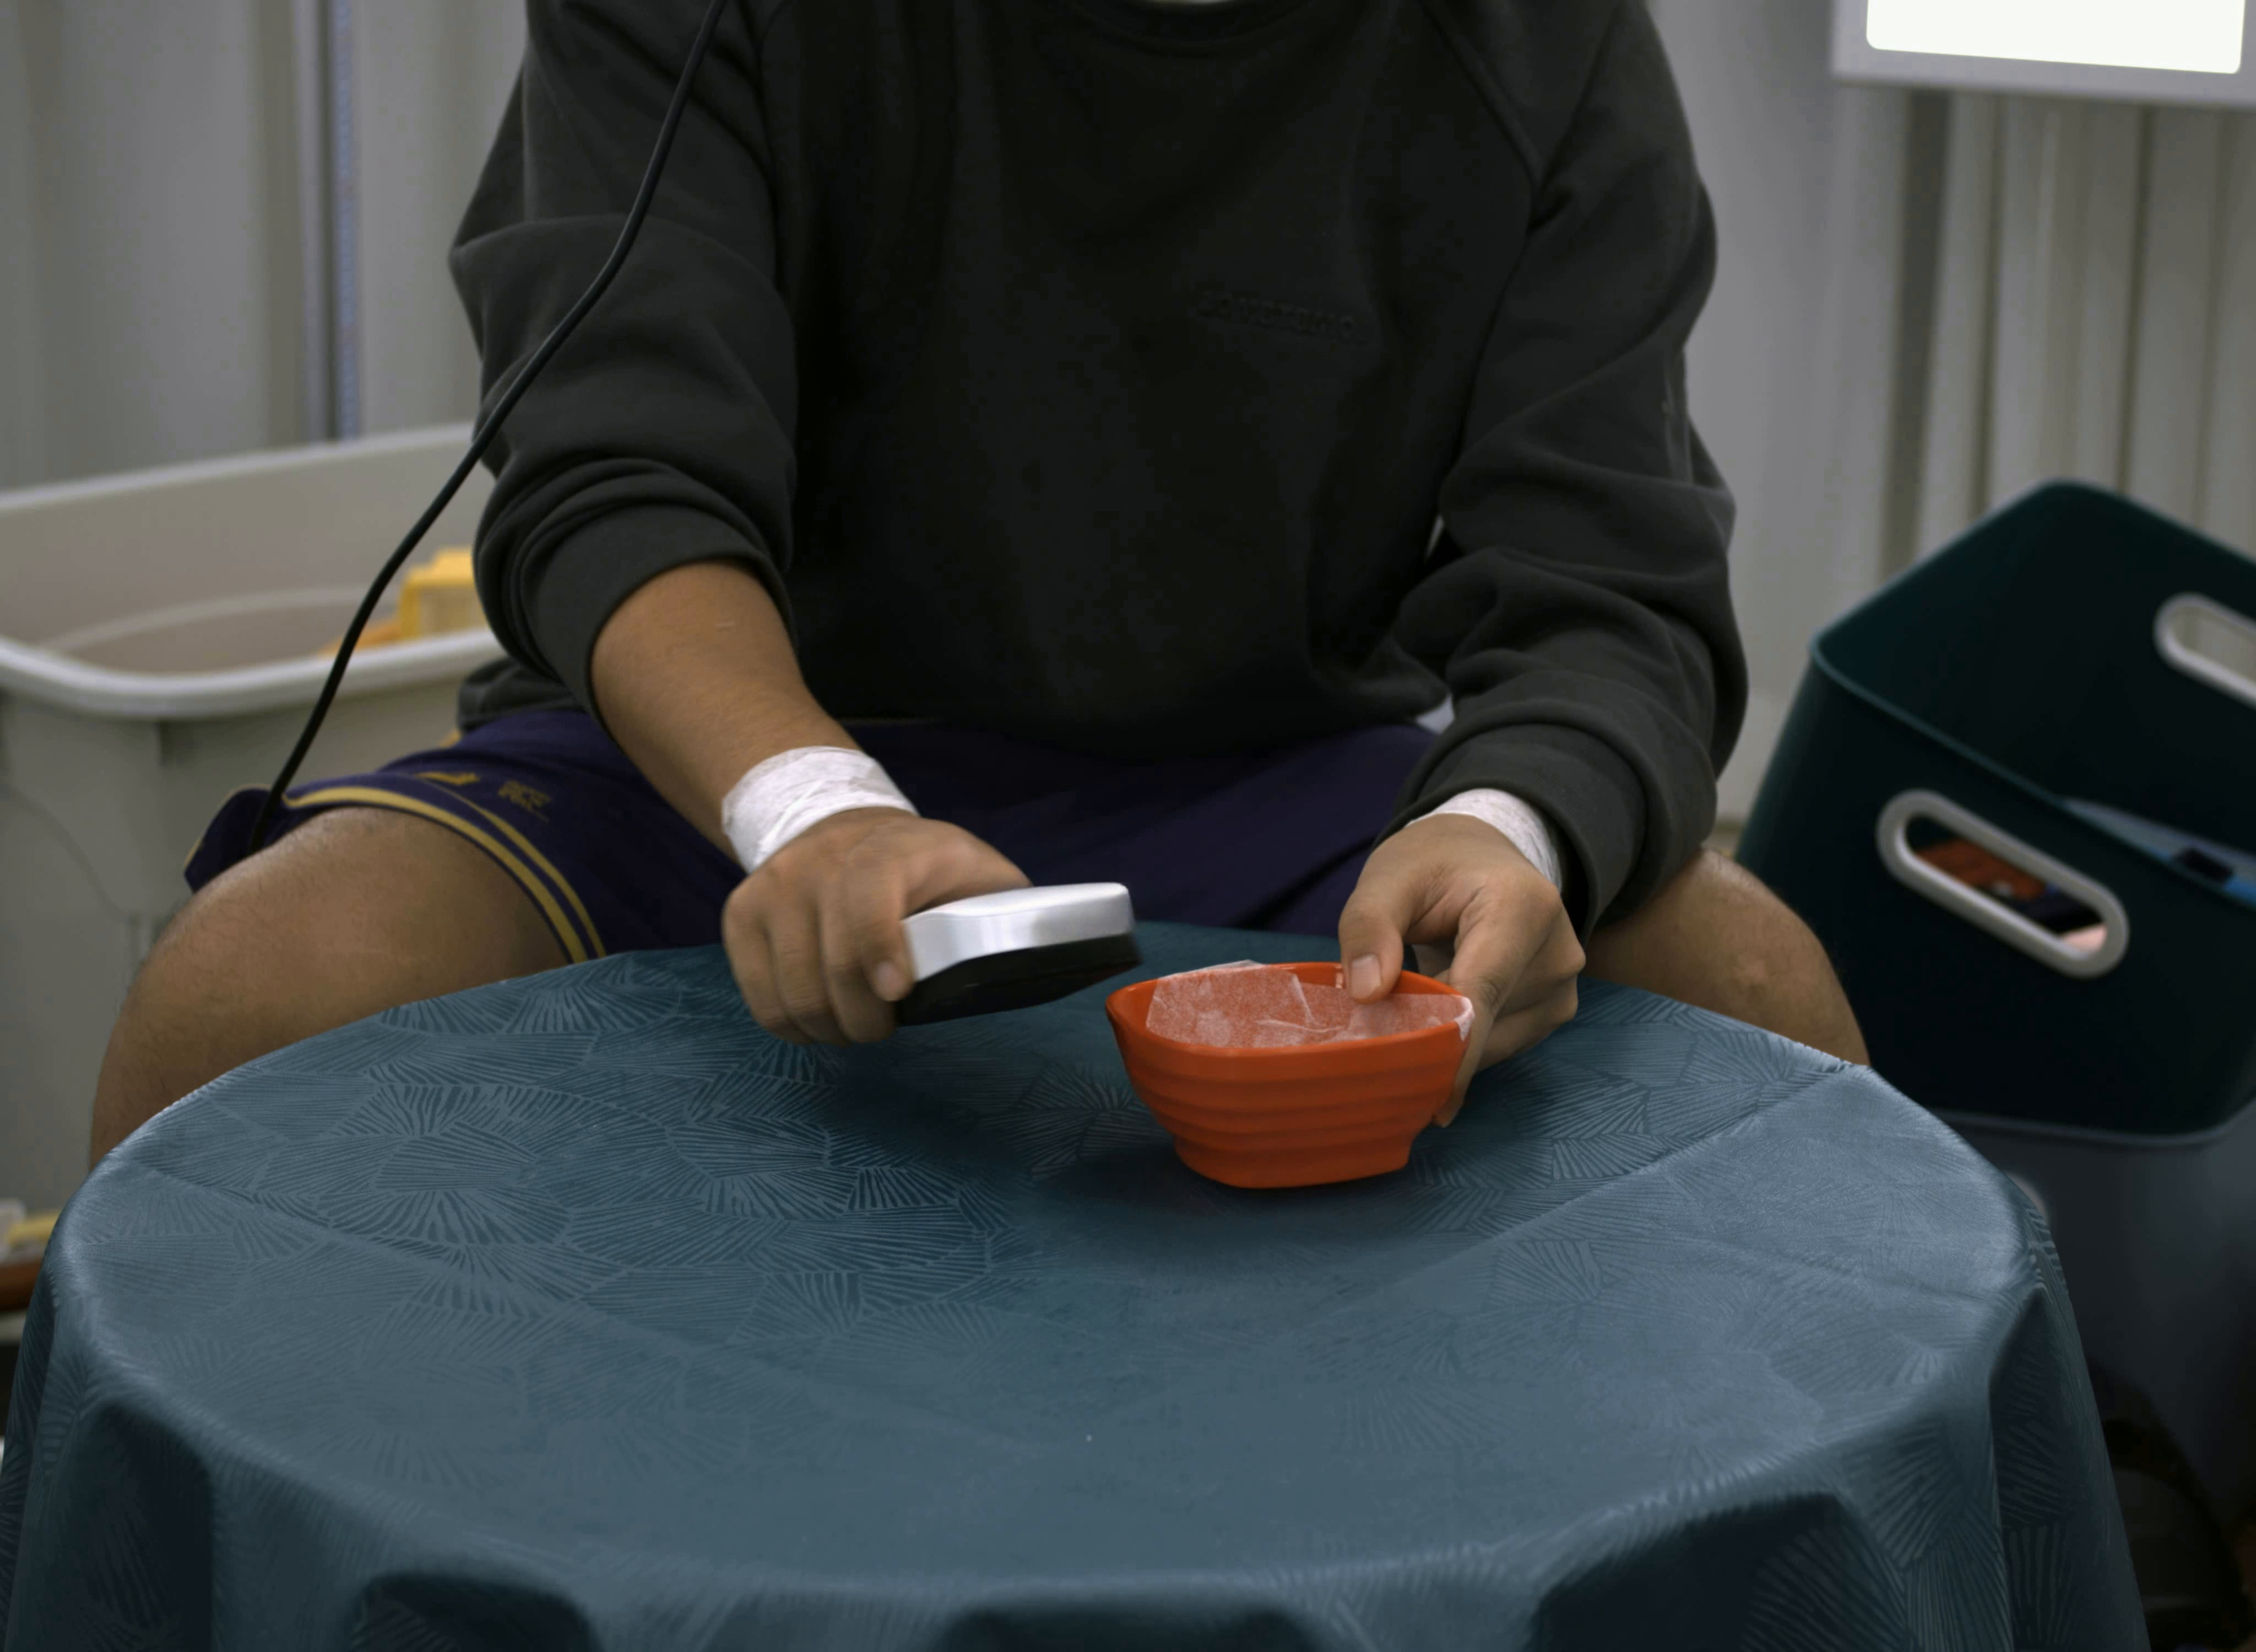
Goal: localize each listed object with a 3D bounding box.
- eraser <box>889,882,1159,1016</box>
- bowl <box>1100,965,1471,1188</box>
[{"bbox_3d":[-0.031,0.037,1.630,0.063,0.034,0.131,-7,-4,-16],"label":"eraser"},{"bbox_3d":[0.050,0.079,1.641,0.118,0.052,0.118,-2,10,1],"label":"bowl"}]
